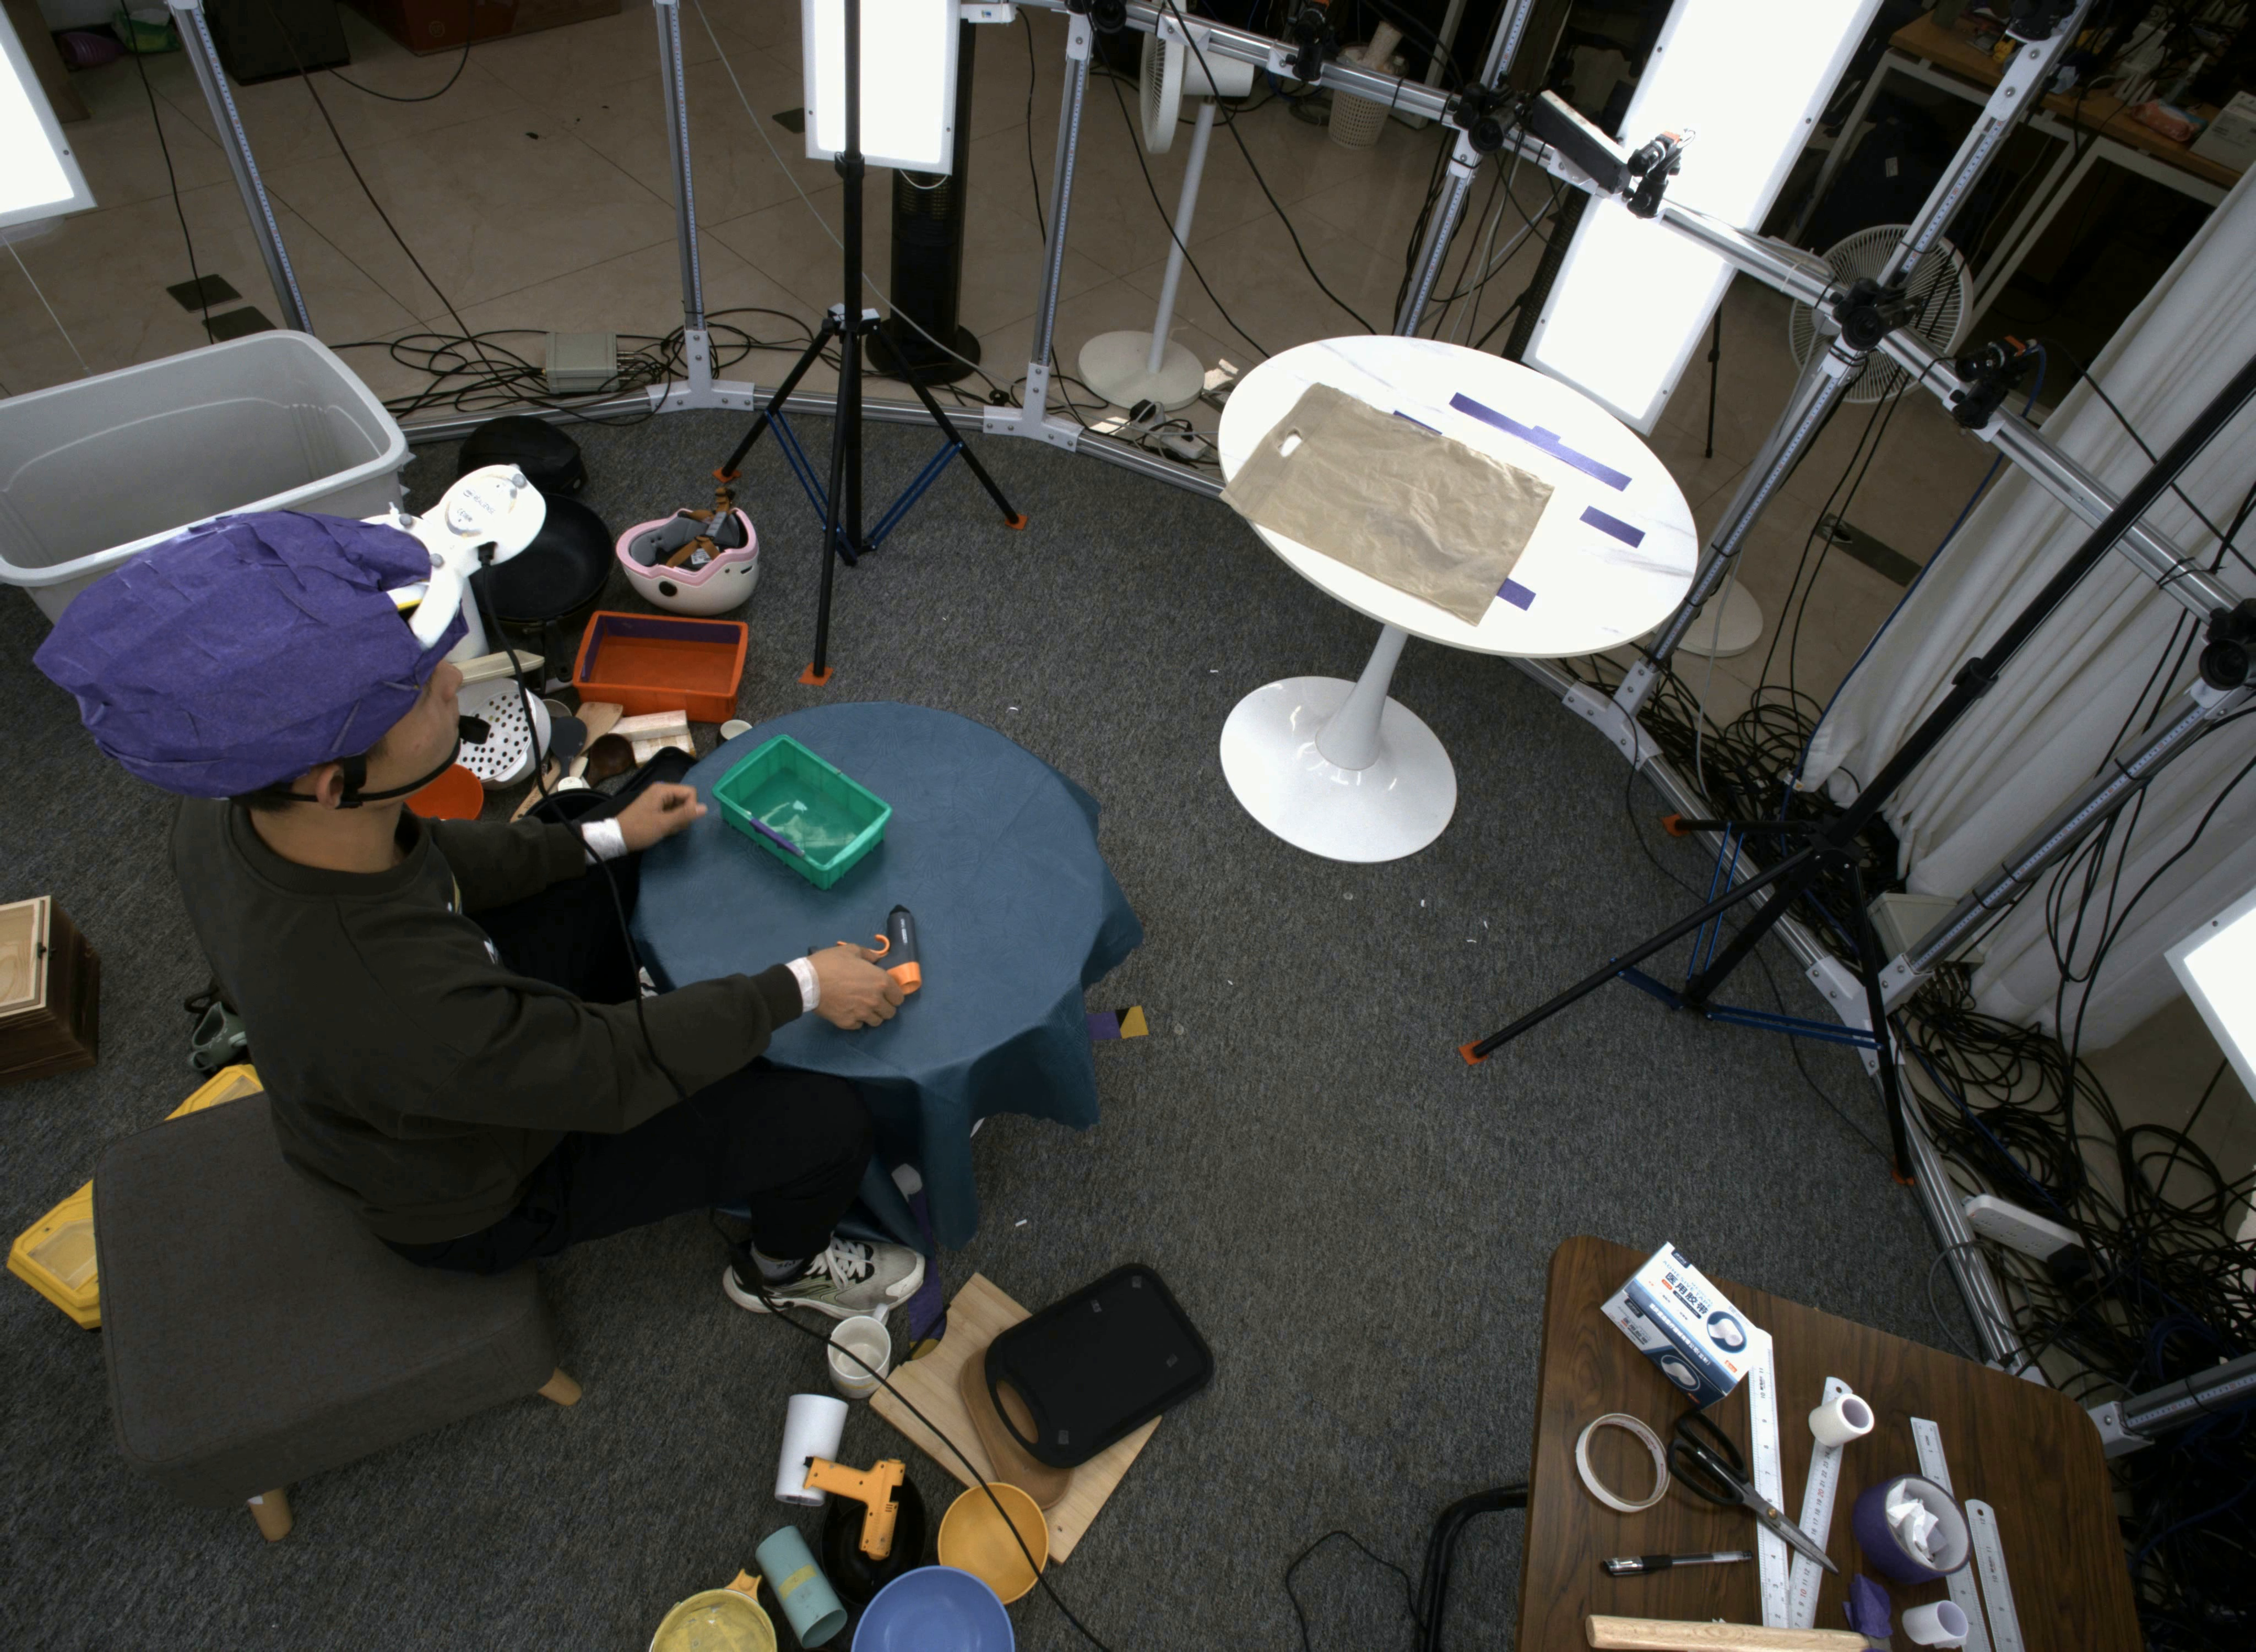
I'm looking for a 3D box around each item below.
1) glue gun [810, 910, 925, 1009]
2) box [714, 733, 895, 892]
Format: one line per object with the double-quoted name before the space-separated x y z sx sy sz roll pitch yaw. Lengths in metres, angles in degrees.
"glue gun" -0.317 0.162 1.605 0.141 0.042 0.114 -18 55 -28
"box" -0.421 -0.016 1.692 0.207 0.066 0.138 33 54 9
